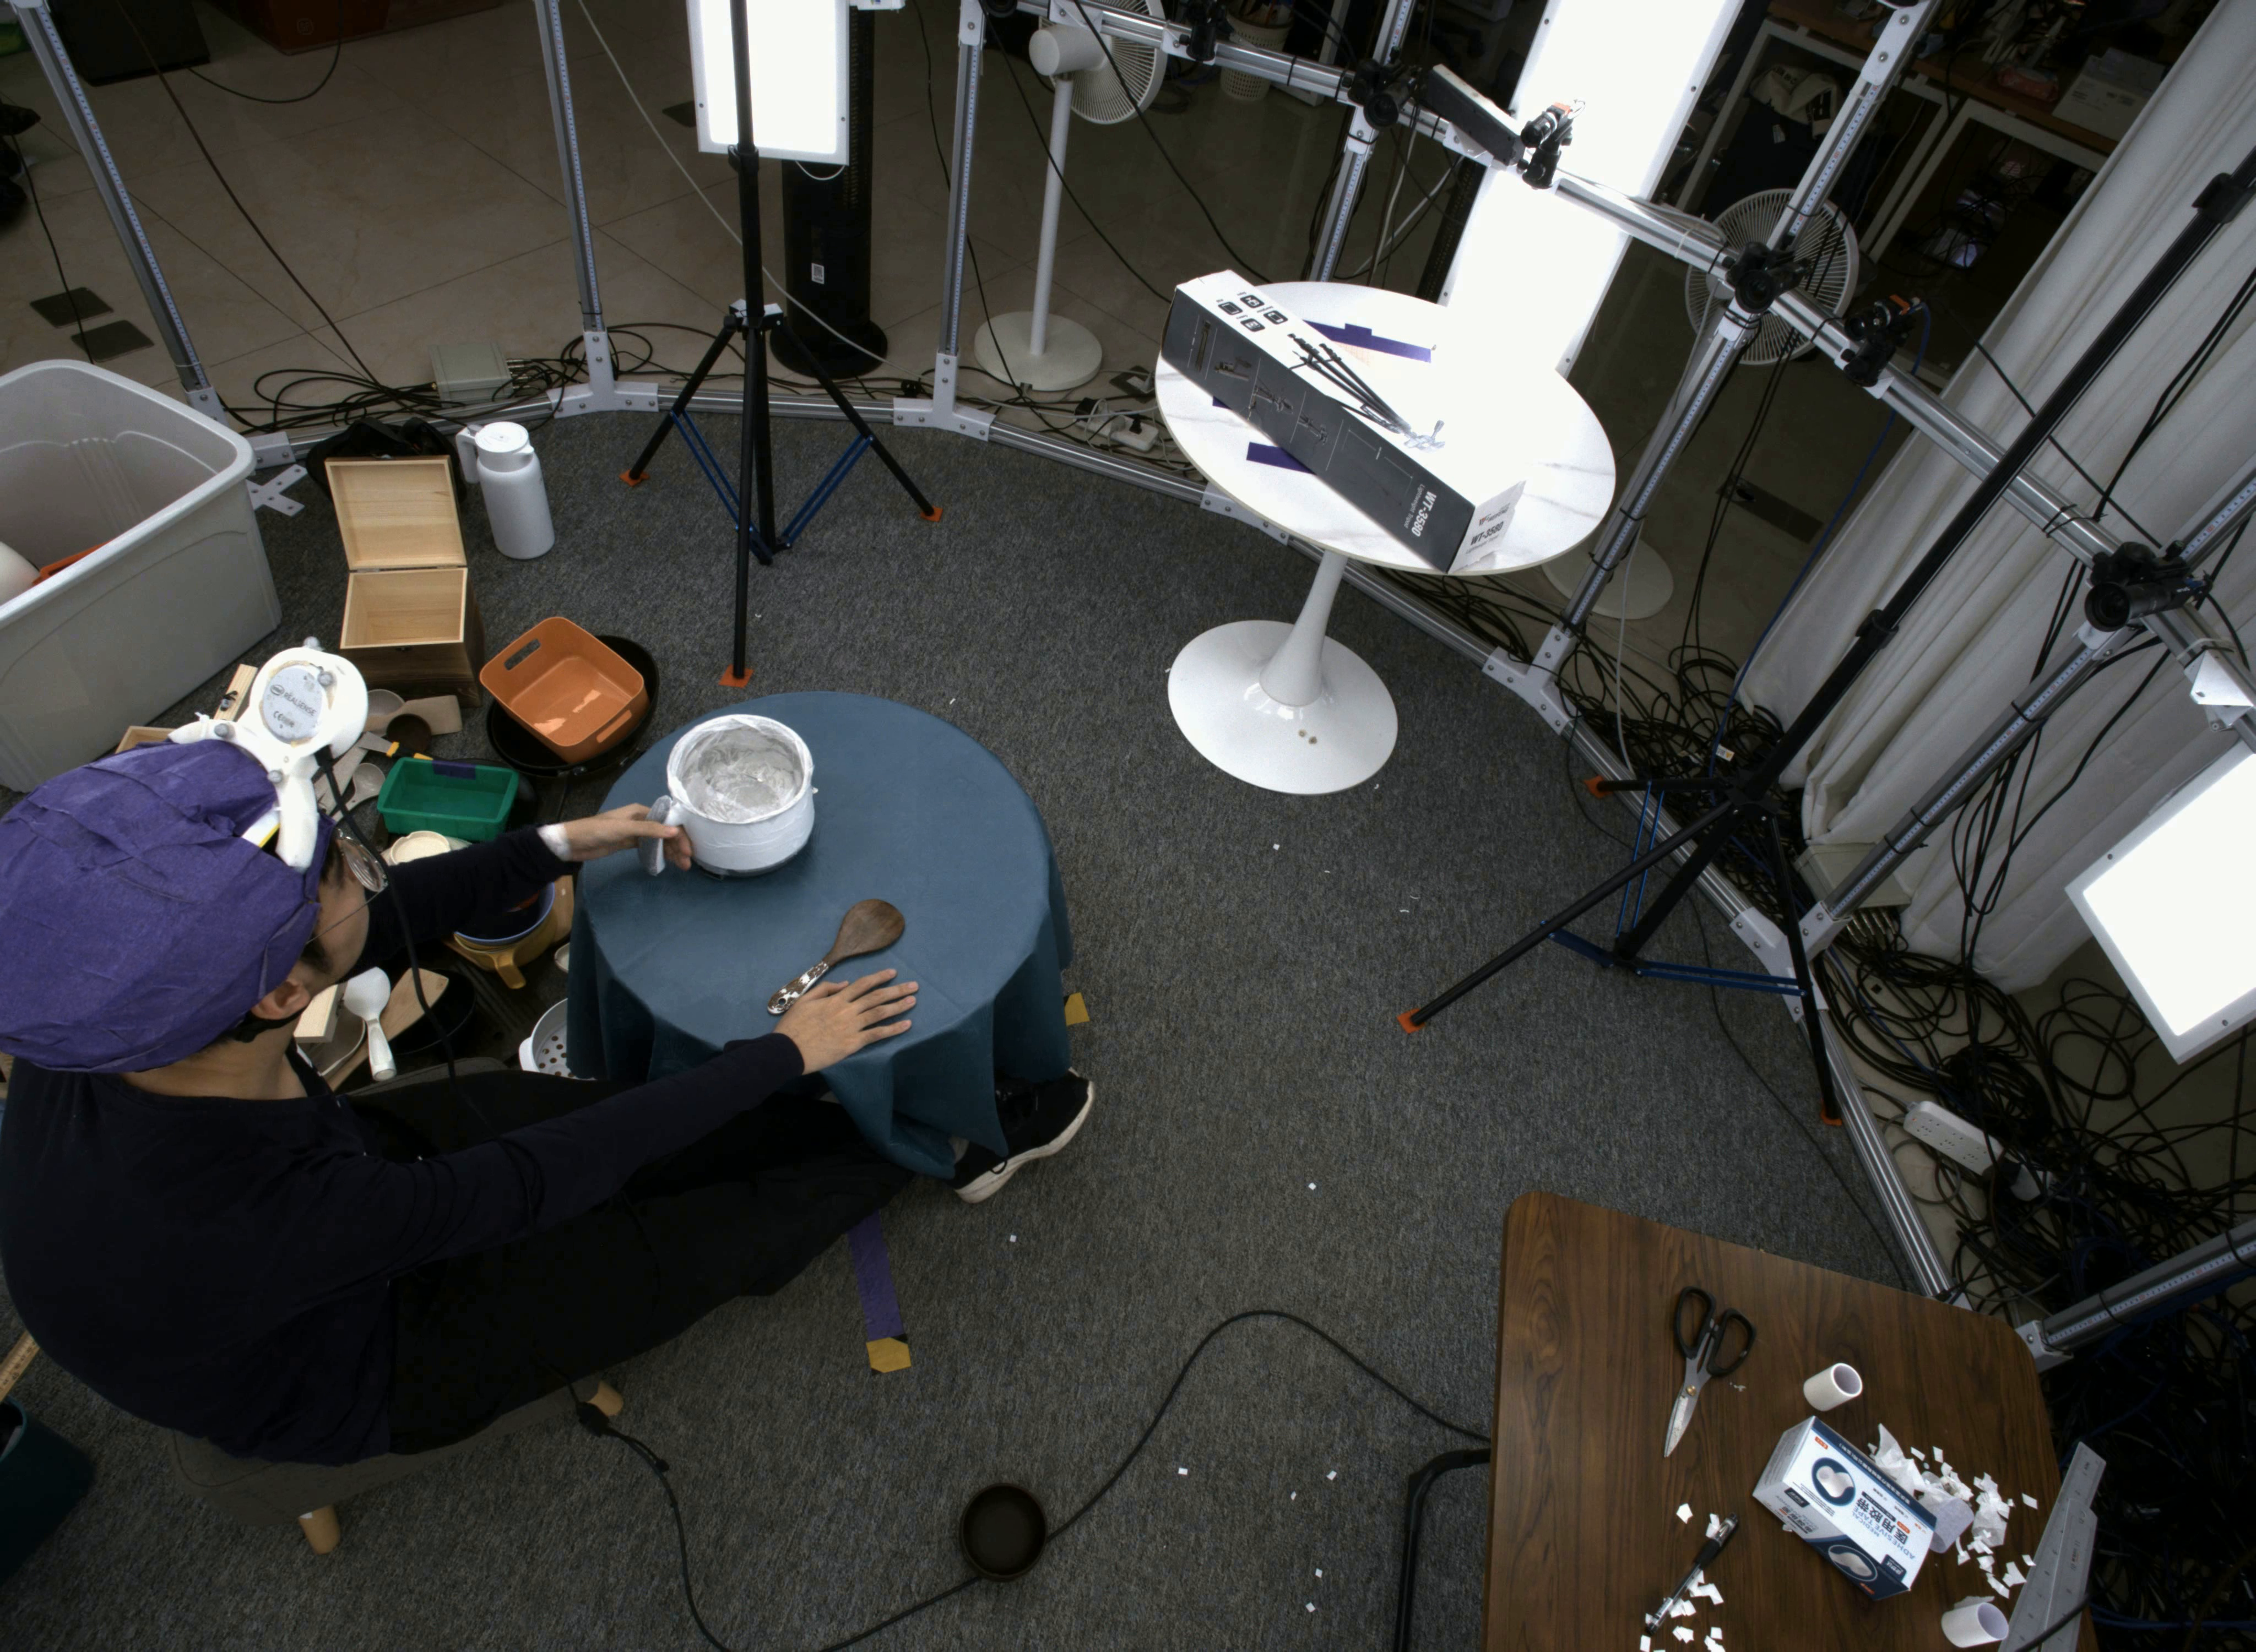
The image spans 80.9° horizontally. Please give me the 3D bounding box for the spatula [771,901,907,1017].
[{"bbox_3d":[-0.367,0.164,1.626,0.070,0.009,0.216,37,55,15],"label":"spatula"}]

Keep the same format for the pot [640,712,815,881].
[{"bbox_3d":[-0.513,-0.025,1.640,0.234,0.140,0.174,-31,62,-32],"label":"pot"}]
